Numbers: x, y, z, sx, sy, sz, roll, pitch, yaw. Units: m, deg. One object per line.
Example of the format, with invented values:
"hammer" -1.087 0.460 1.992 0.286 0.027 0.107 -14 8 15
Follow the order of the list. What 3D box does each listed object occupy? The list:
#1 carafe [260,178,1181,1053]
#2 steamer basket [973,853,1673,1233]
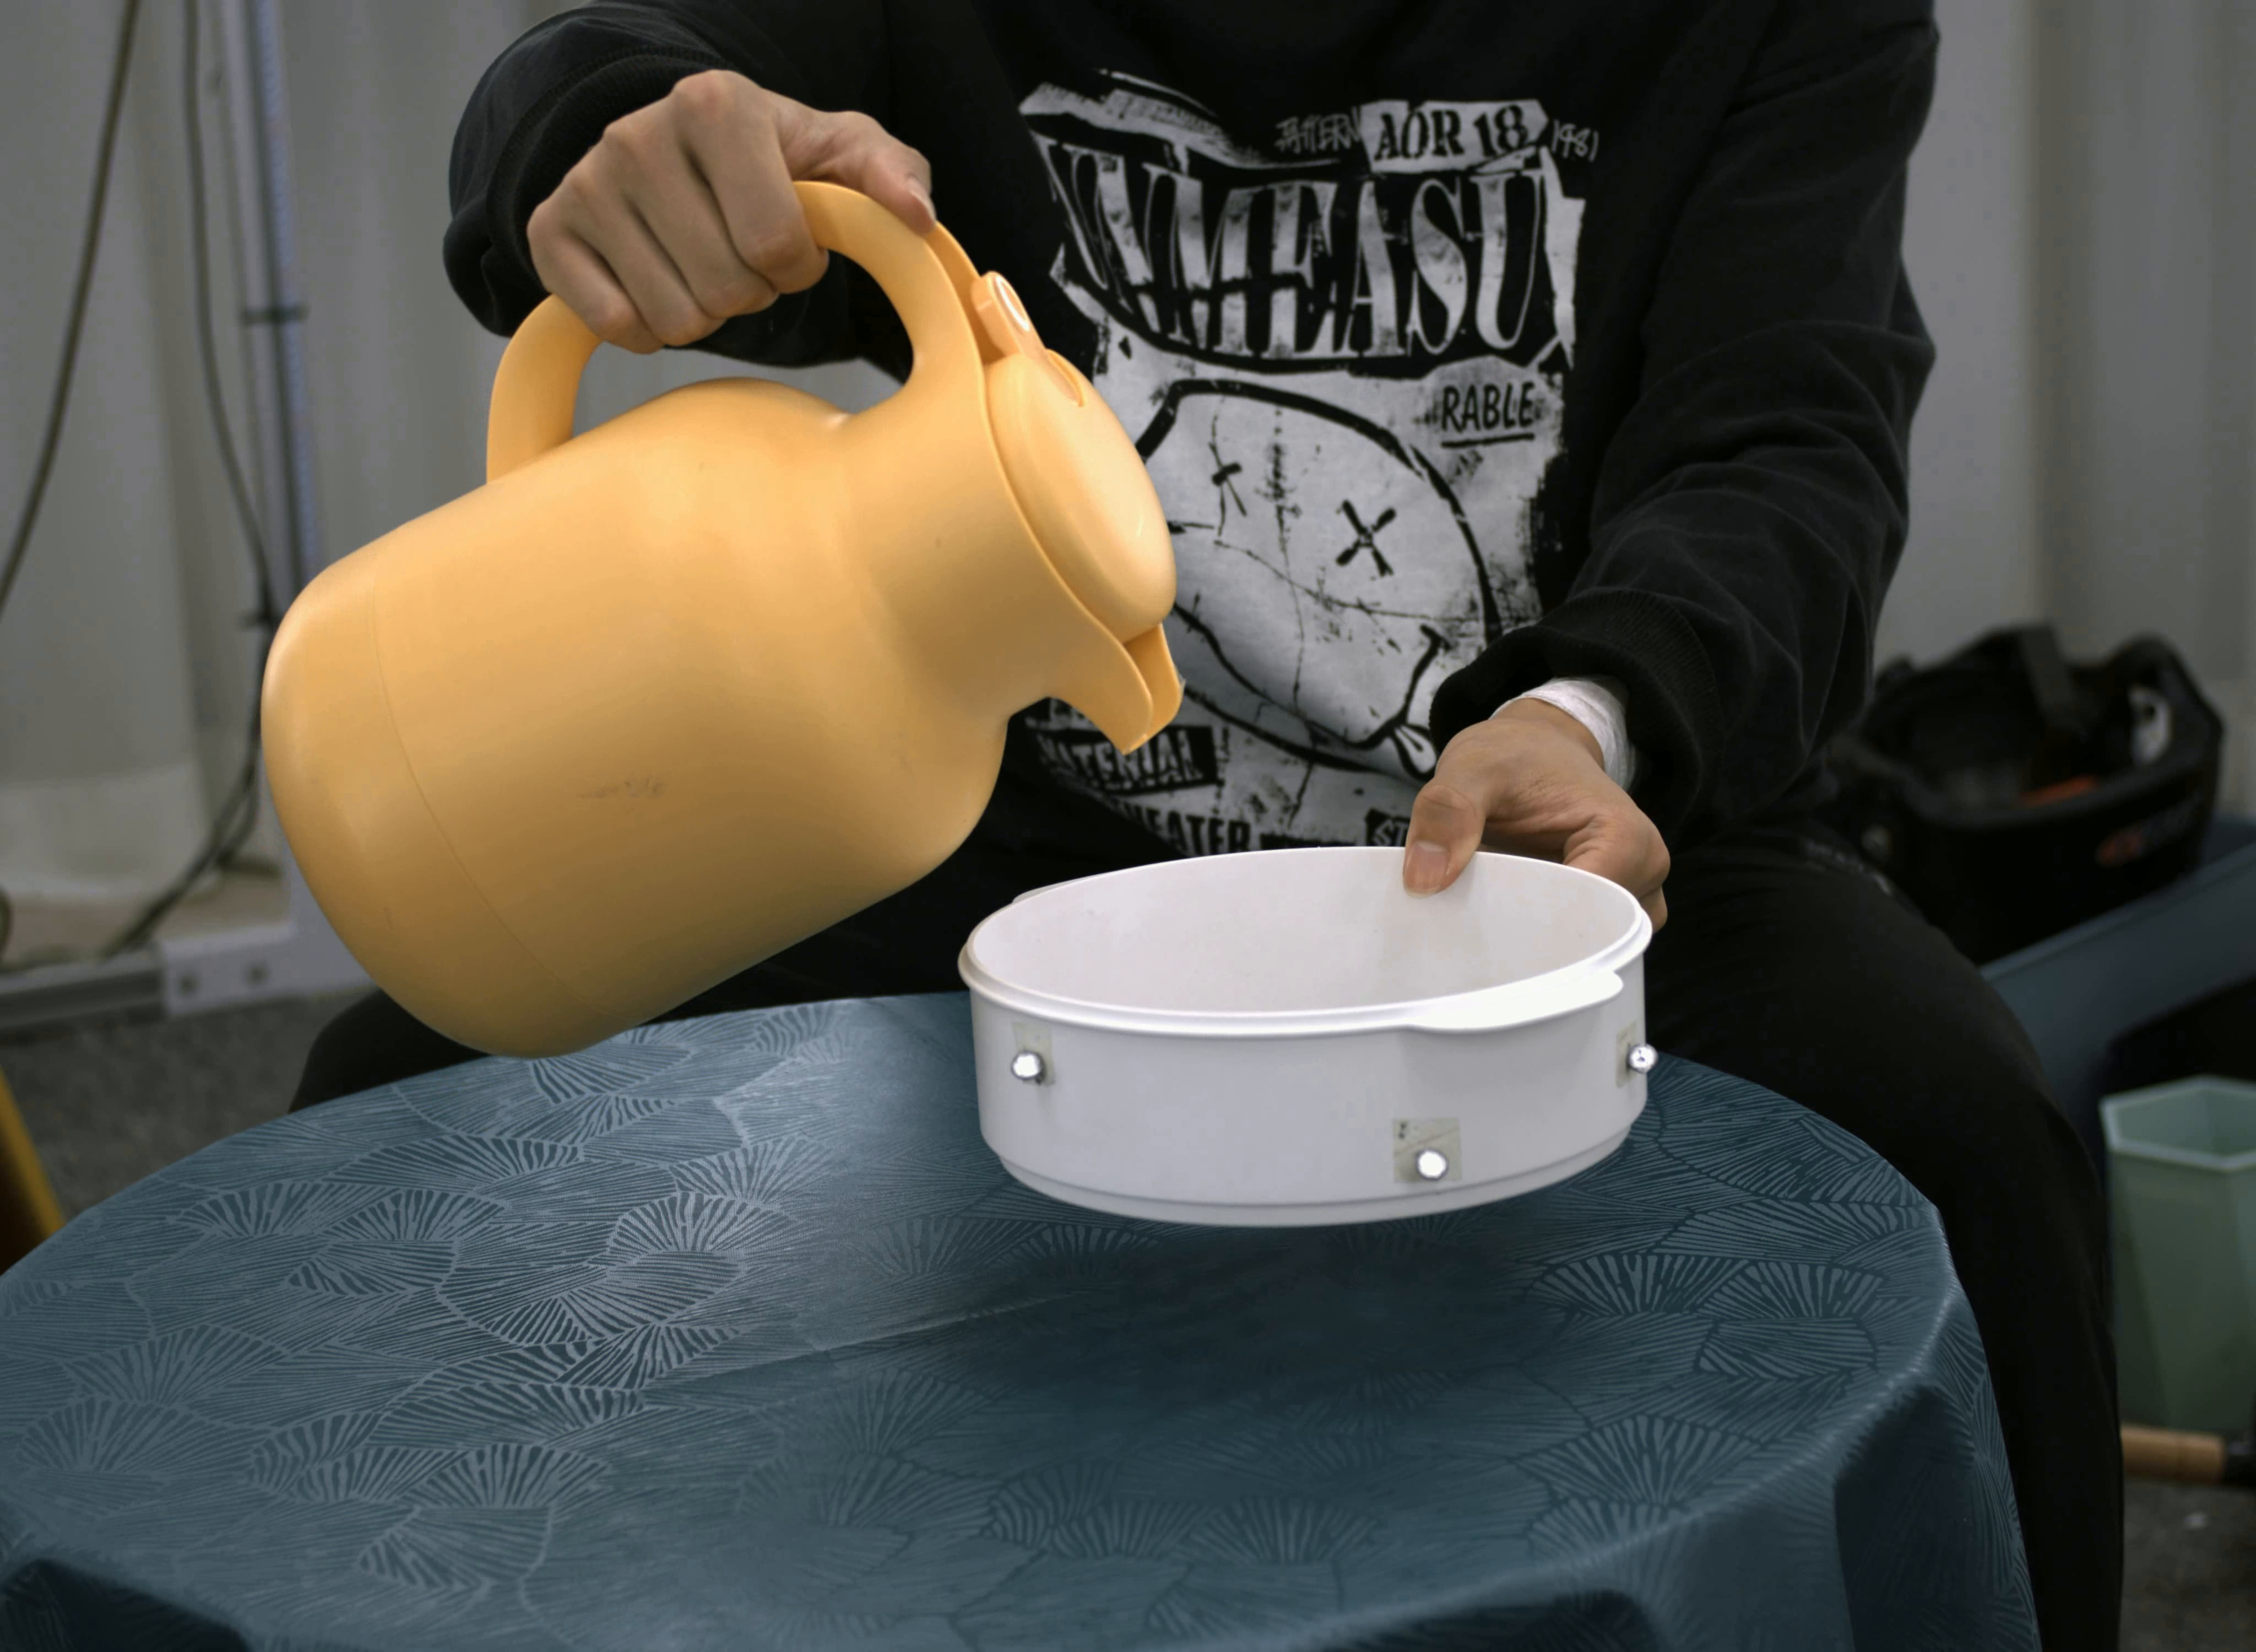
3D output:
"carafe" -0.120 -0.066 1.594 0.259 0.203 0.163 -25 -4 17
"steamer basket" 0.056 0.062 1.576 0.201 0.069 0.232 -10 16 -35
